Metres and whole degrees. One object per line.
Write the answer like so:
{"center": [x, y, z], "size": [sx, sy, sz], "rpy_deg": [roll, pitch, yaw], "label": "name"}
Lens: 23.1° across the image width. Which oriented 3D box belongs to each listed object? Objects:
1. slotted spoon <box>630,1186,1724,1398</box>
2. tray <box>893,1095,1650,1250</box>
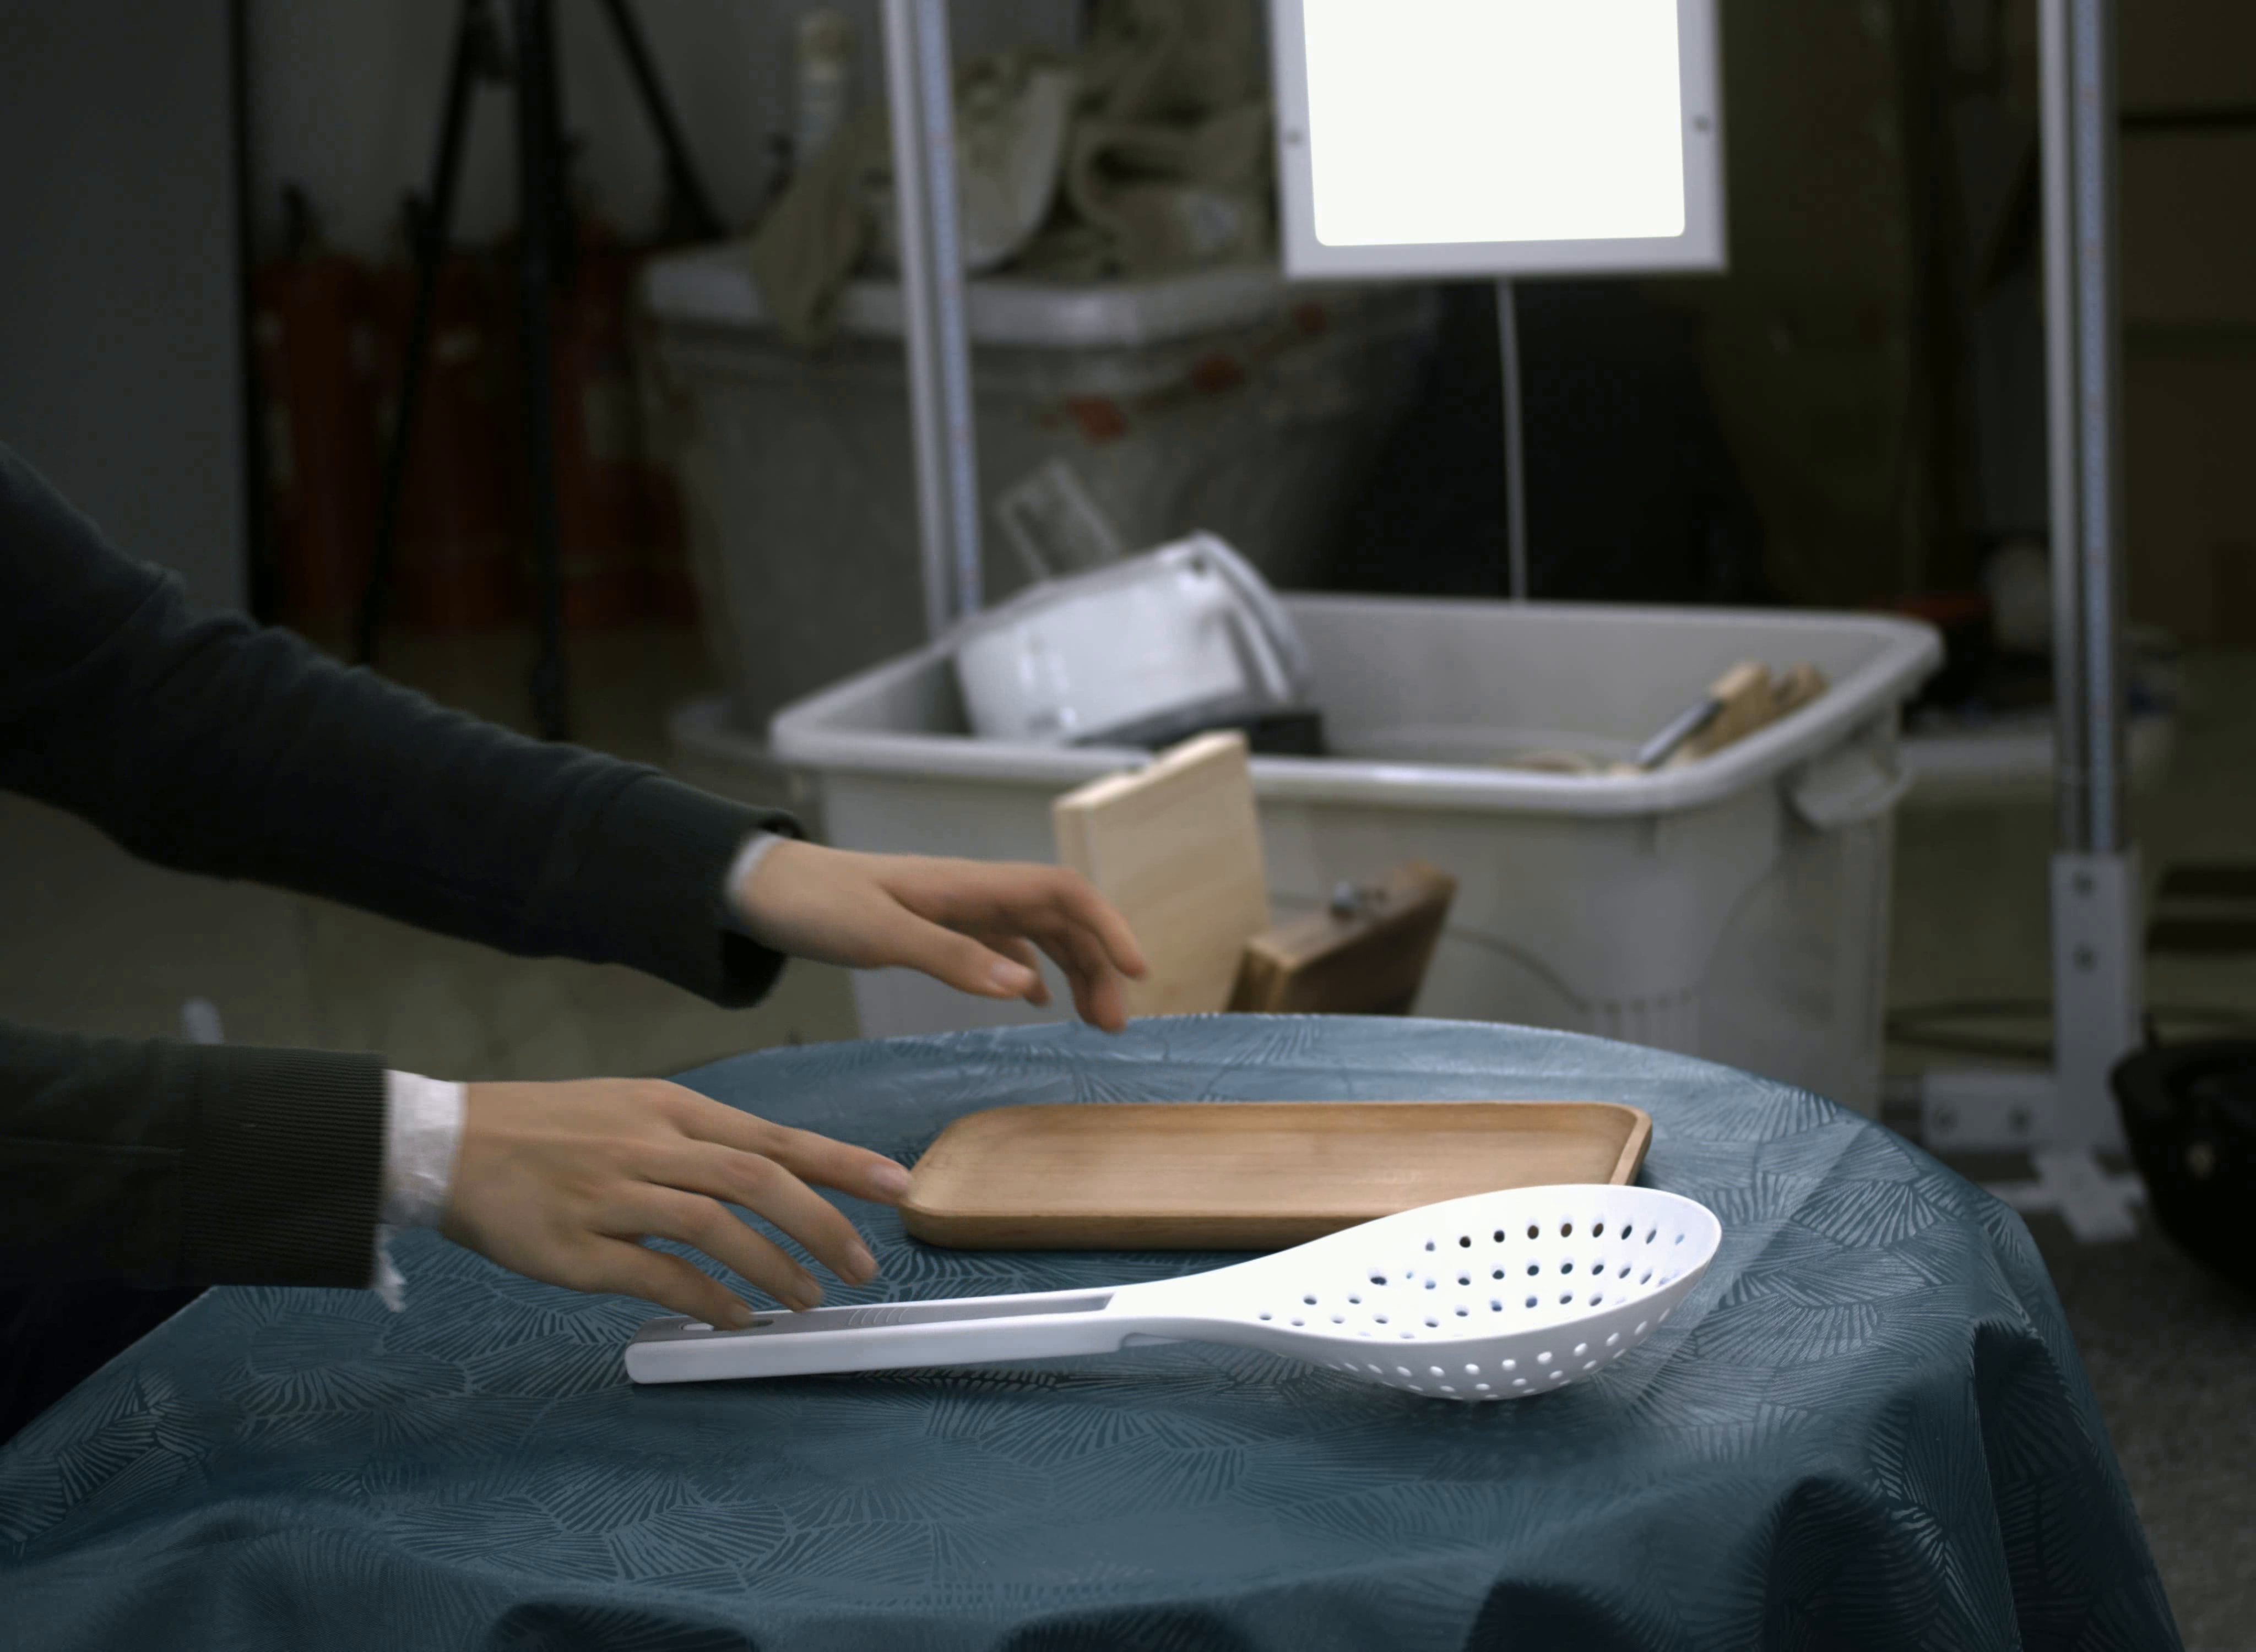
{"center": [0.012, 0.150, 1.702], "size": [0.353, 0.046, 0.134], "rpy_deg": [-2, 14, 17], "label": "slotted spoon"}
{"center": [0.050, 0.118, 1.877], "size": [0.253, 0.023, 0.129], "rpy_deg": [-2, 12, 16], "label": "tray"}
